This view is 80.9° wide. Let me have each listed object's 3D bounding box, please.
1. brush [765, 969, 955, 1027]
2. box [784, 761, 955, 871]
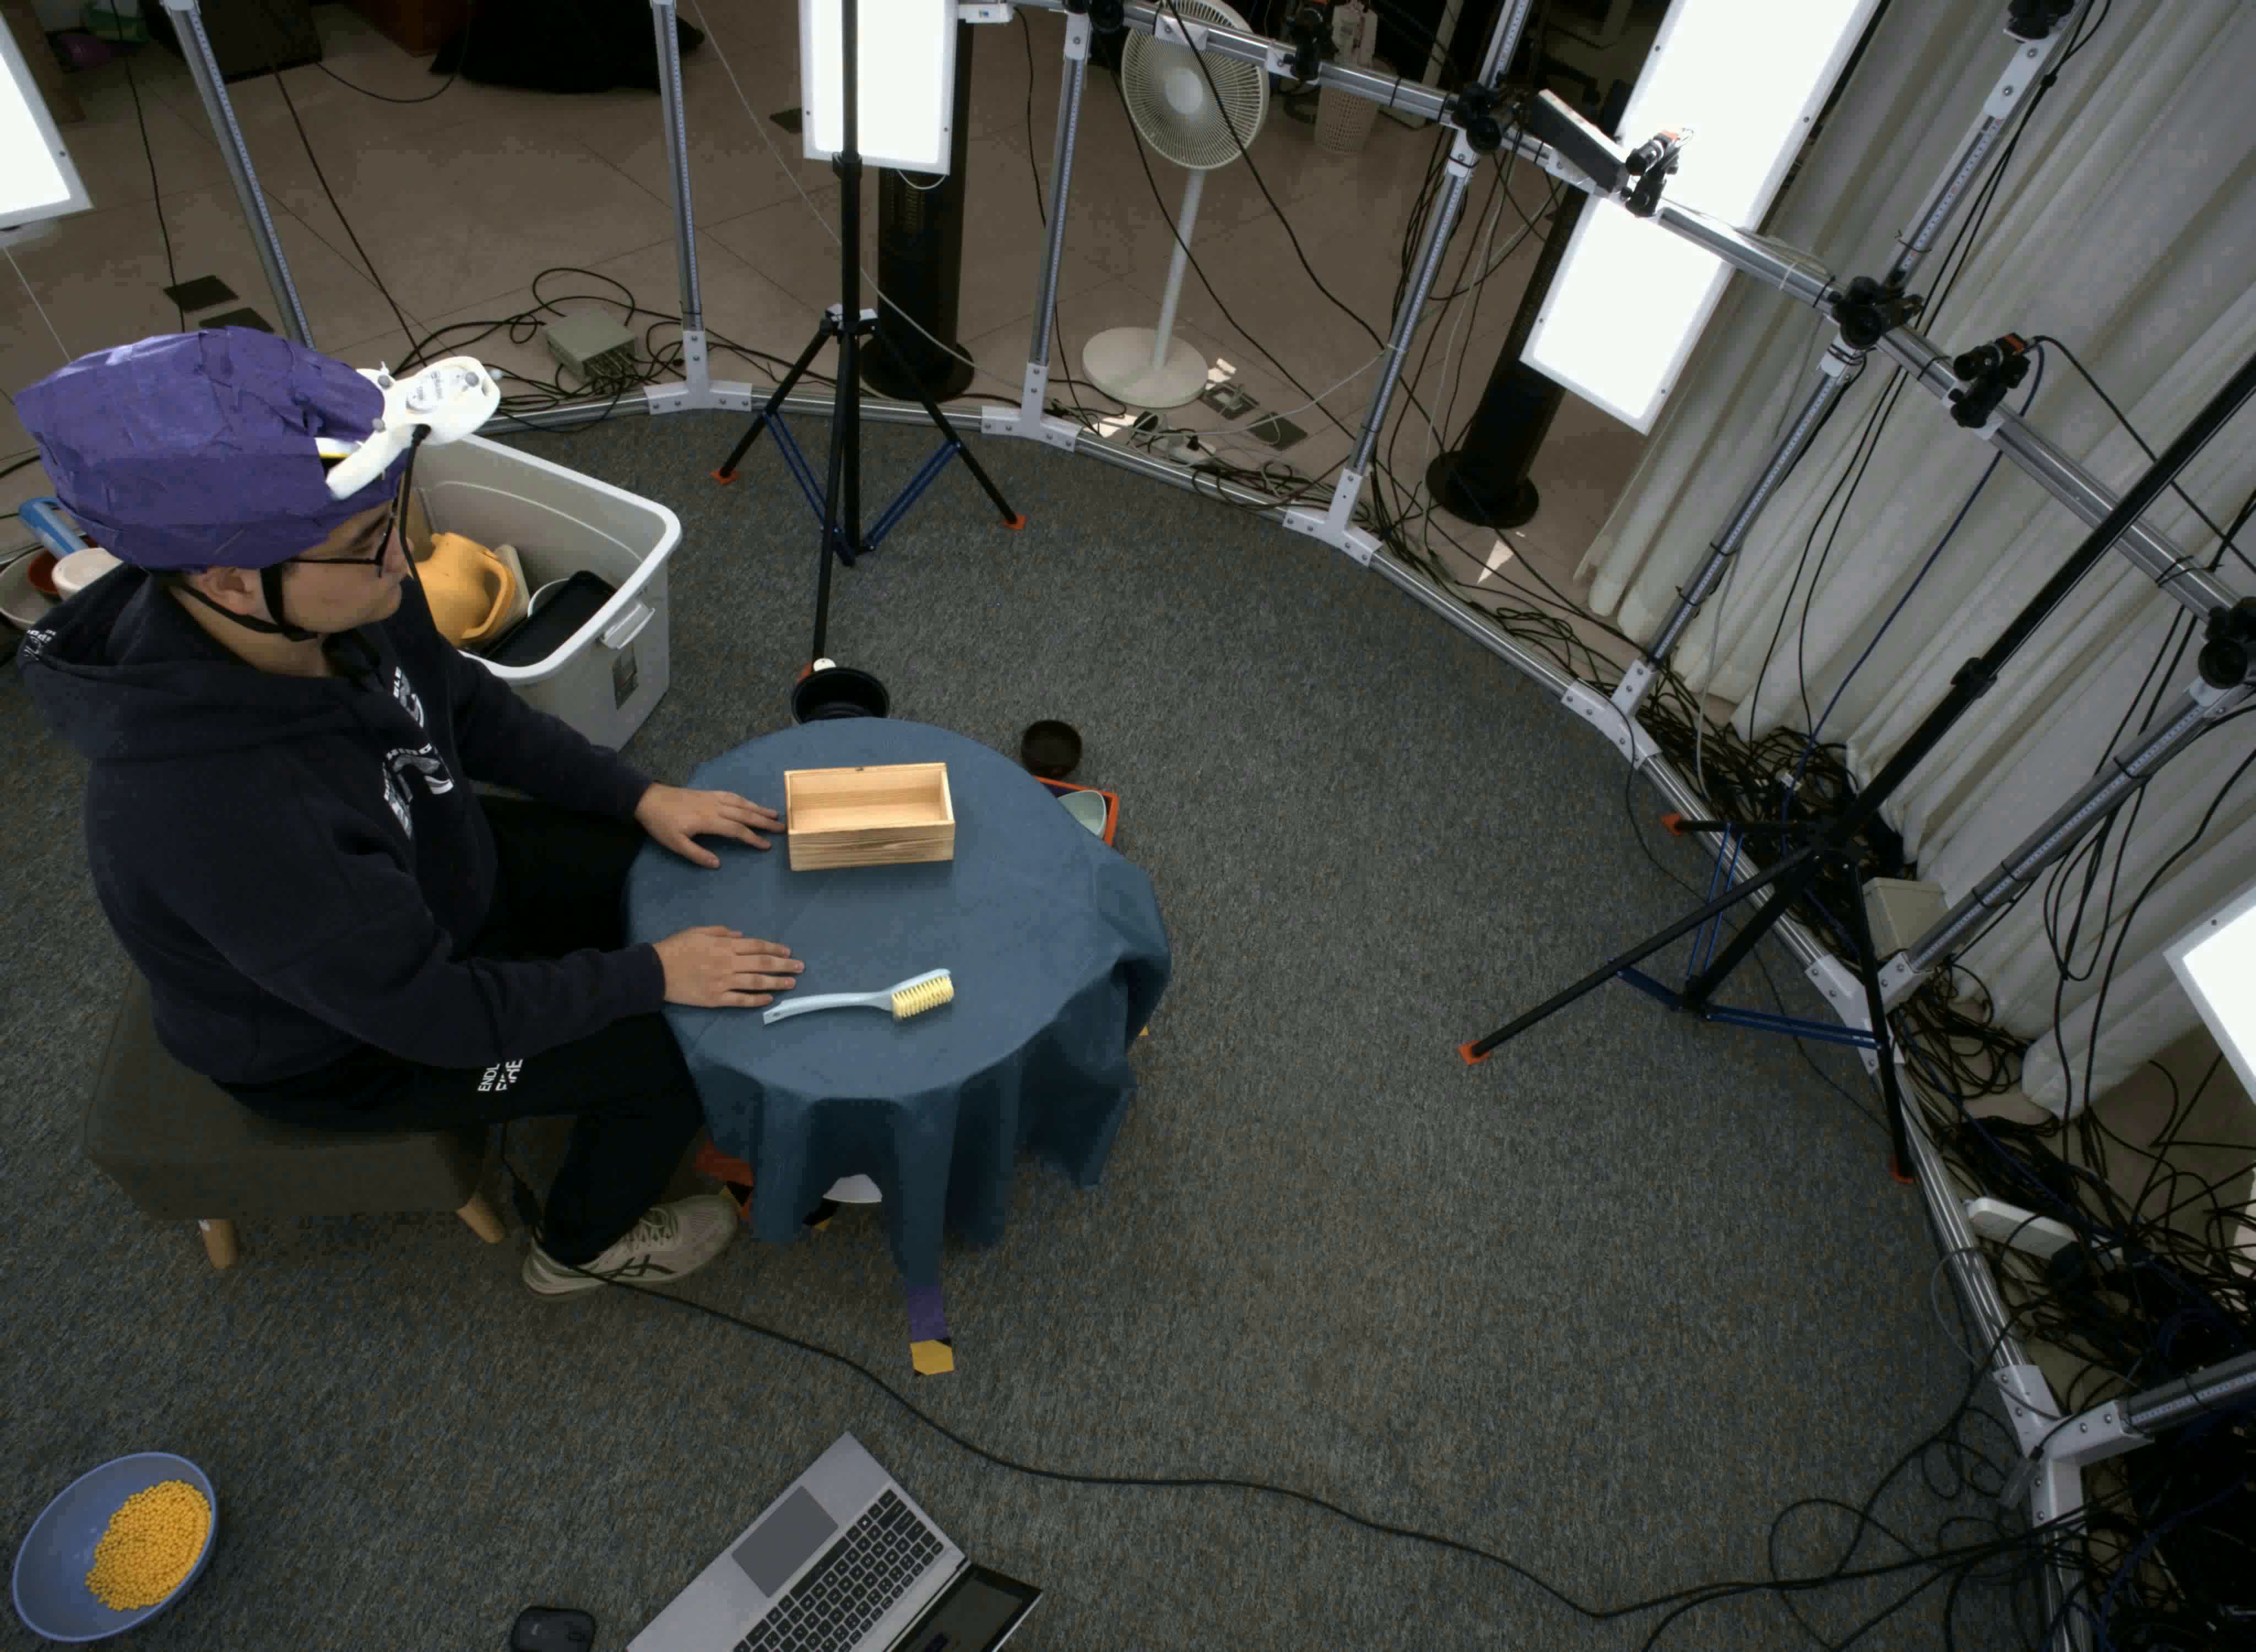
[{"bbox_3d":[-0.321,0.213,1.562,0.229,0.039,0.048,-8,47,-19],"label":"brush"},{"bbox_3d":[-0.339,-0.015,1.701,0.212,0.082,0.105,-4,54,-17],"label":"box"}]
